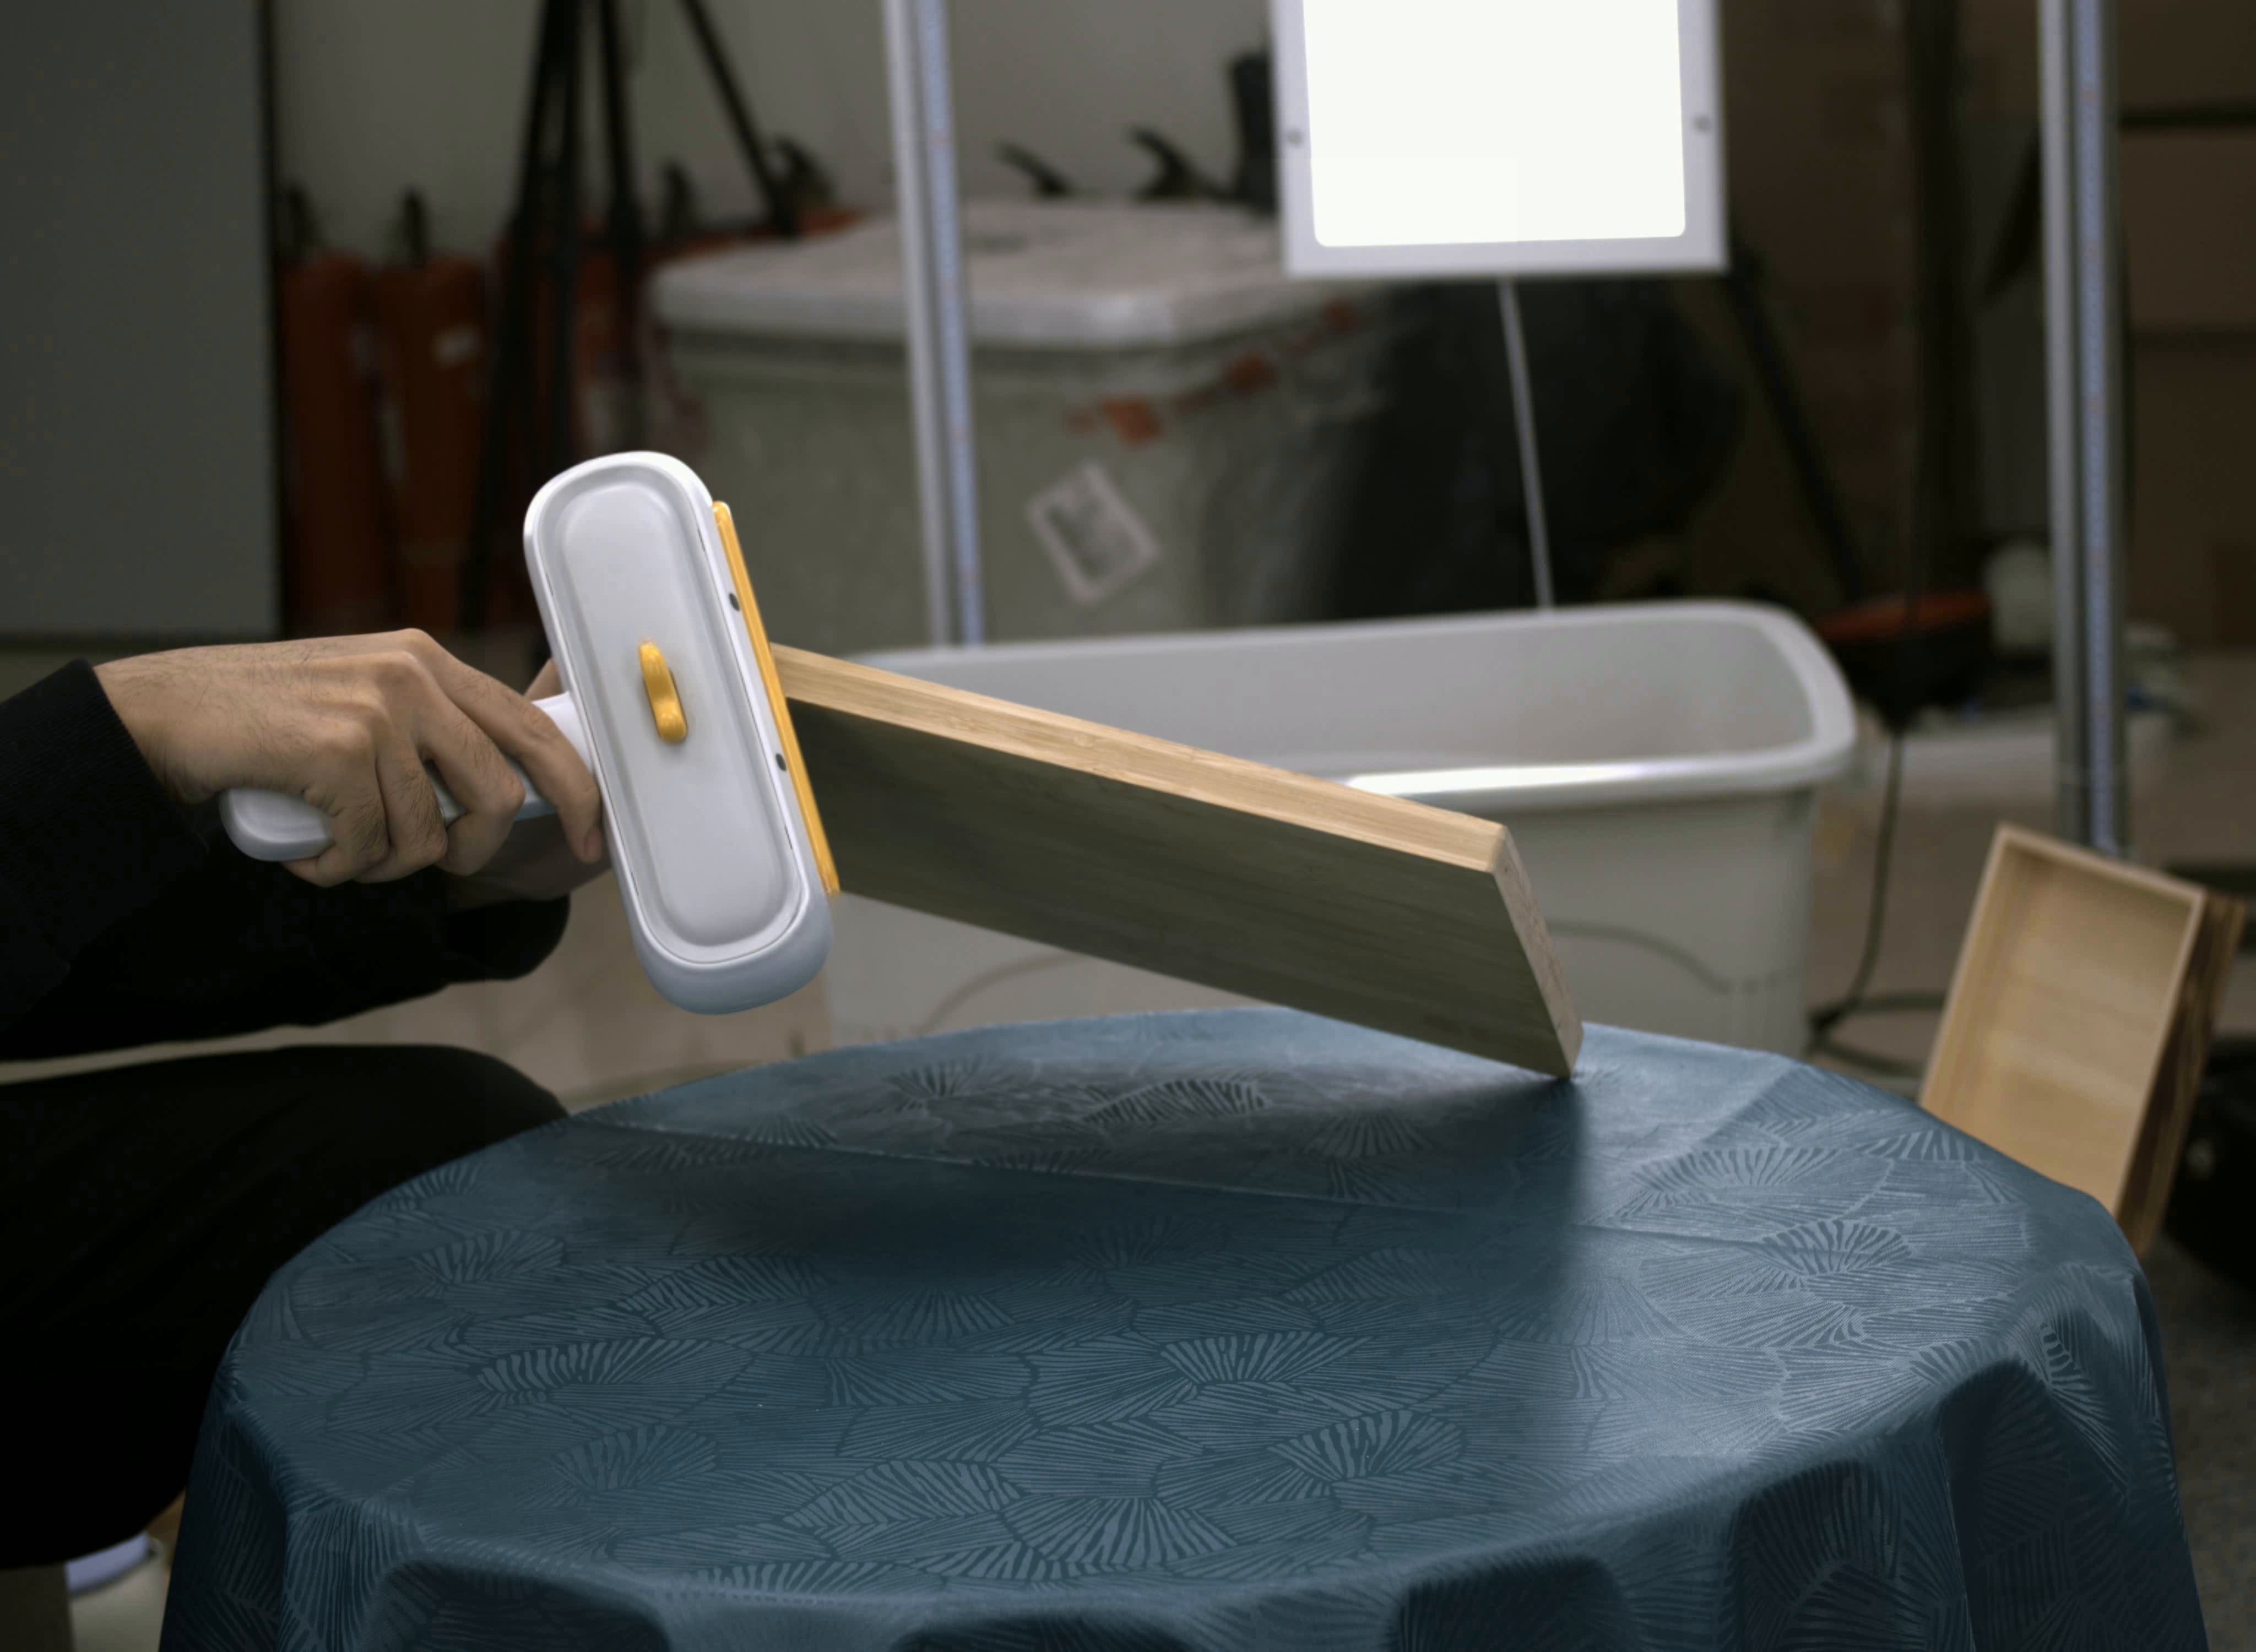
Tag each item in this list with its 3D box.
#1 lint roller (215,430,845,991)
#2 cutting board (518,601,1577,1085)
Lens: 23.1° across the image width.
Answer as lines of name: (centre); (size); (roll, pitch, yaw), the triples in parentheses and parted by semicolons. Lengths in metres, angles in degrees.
lint roller: (-0.204, -0.022, 1.803); (0.190, 0.193, 0.074); (-19, -10, -9)
cutting board: (-0.023, 0.006, 1.928); (0.352, 0.023, 0.249); (14, -16, 17)
